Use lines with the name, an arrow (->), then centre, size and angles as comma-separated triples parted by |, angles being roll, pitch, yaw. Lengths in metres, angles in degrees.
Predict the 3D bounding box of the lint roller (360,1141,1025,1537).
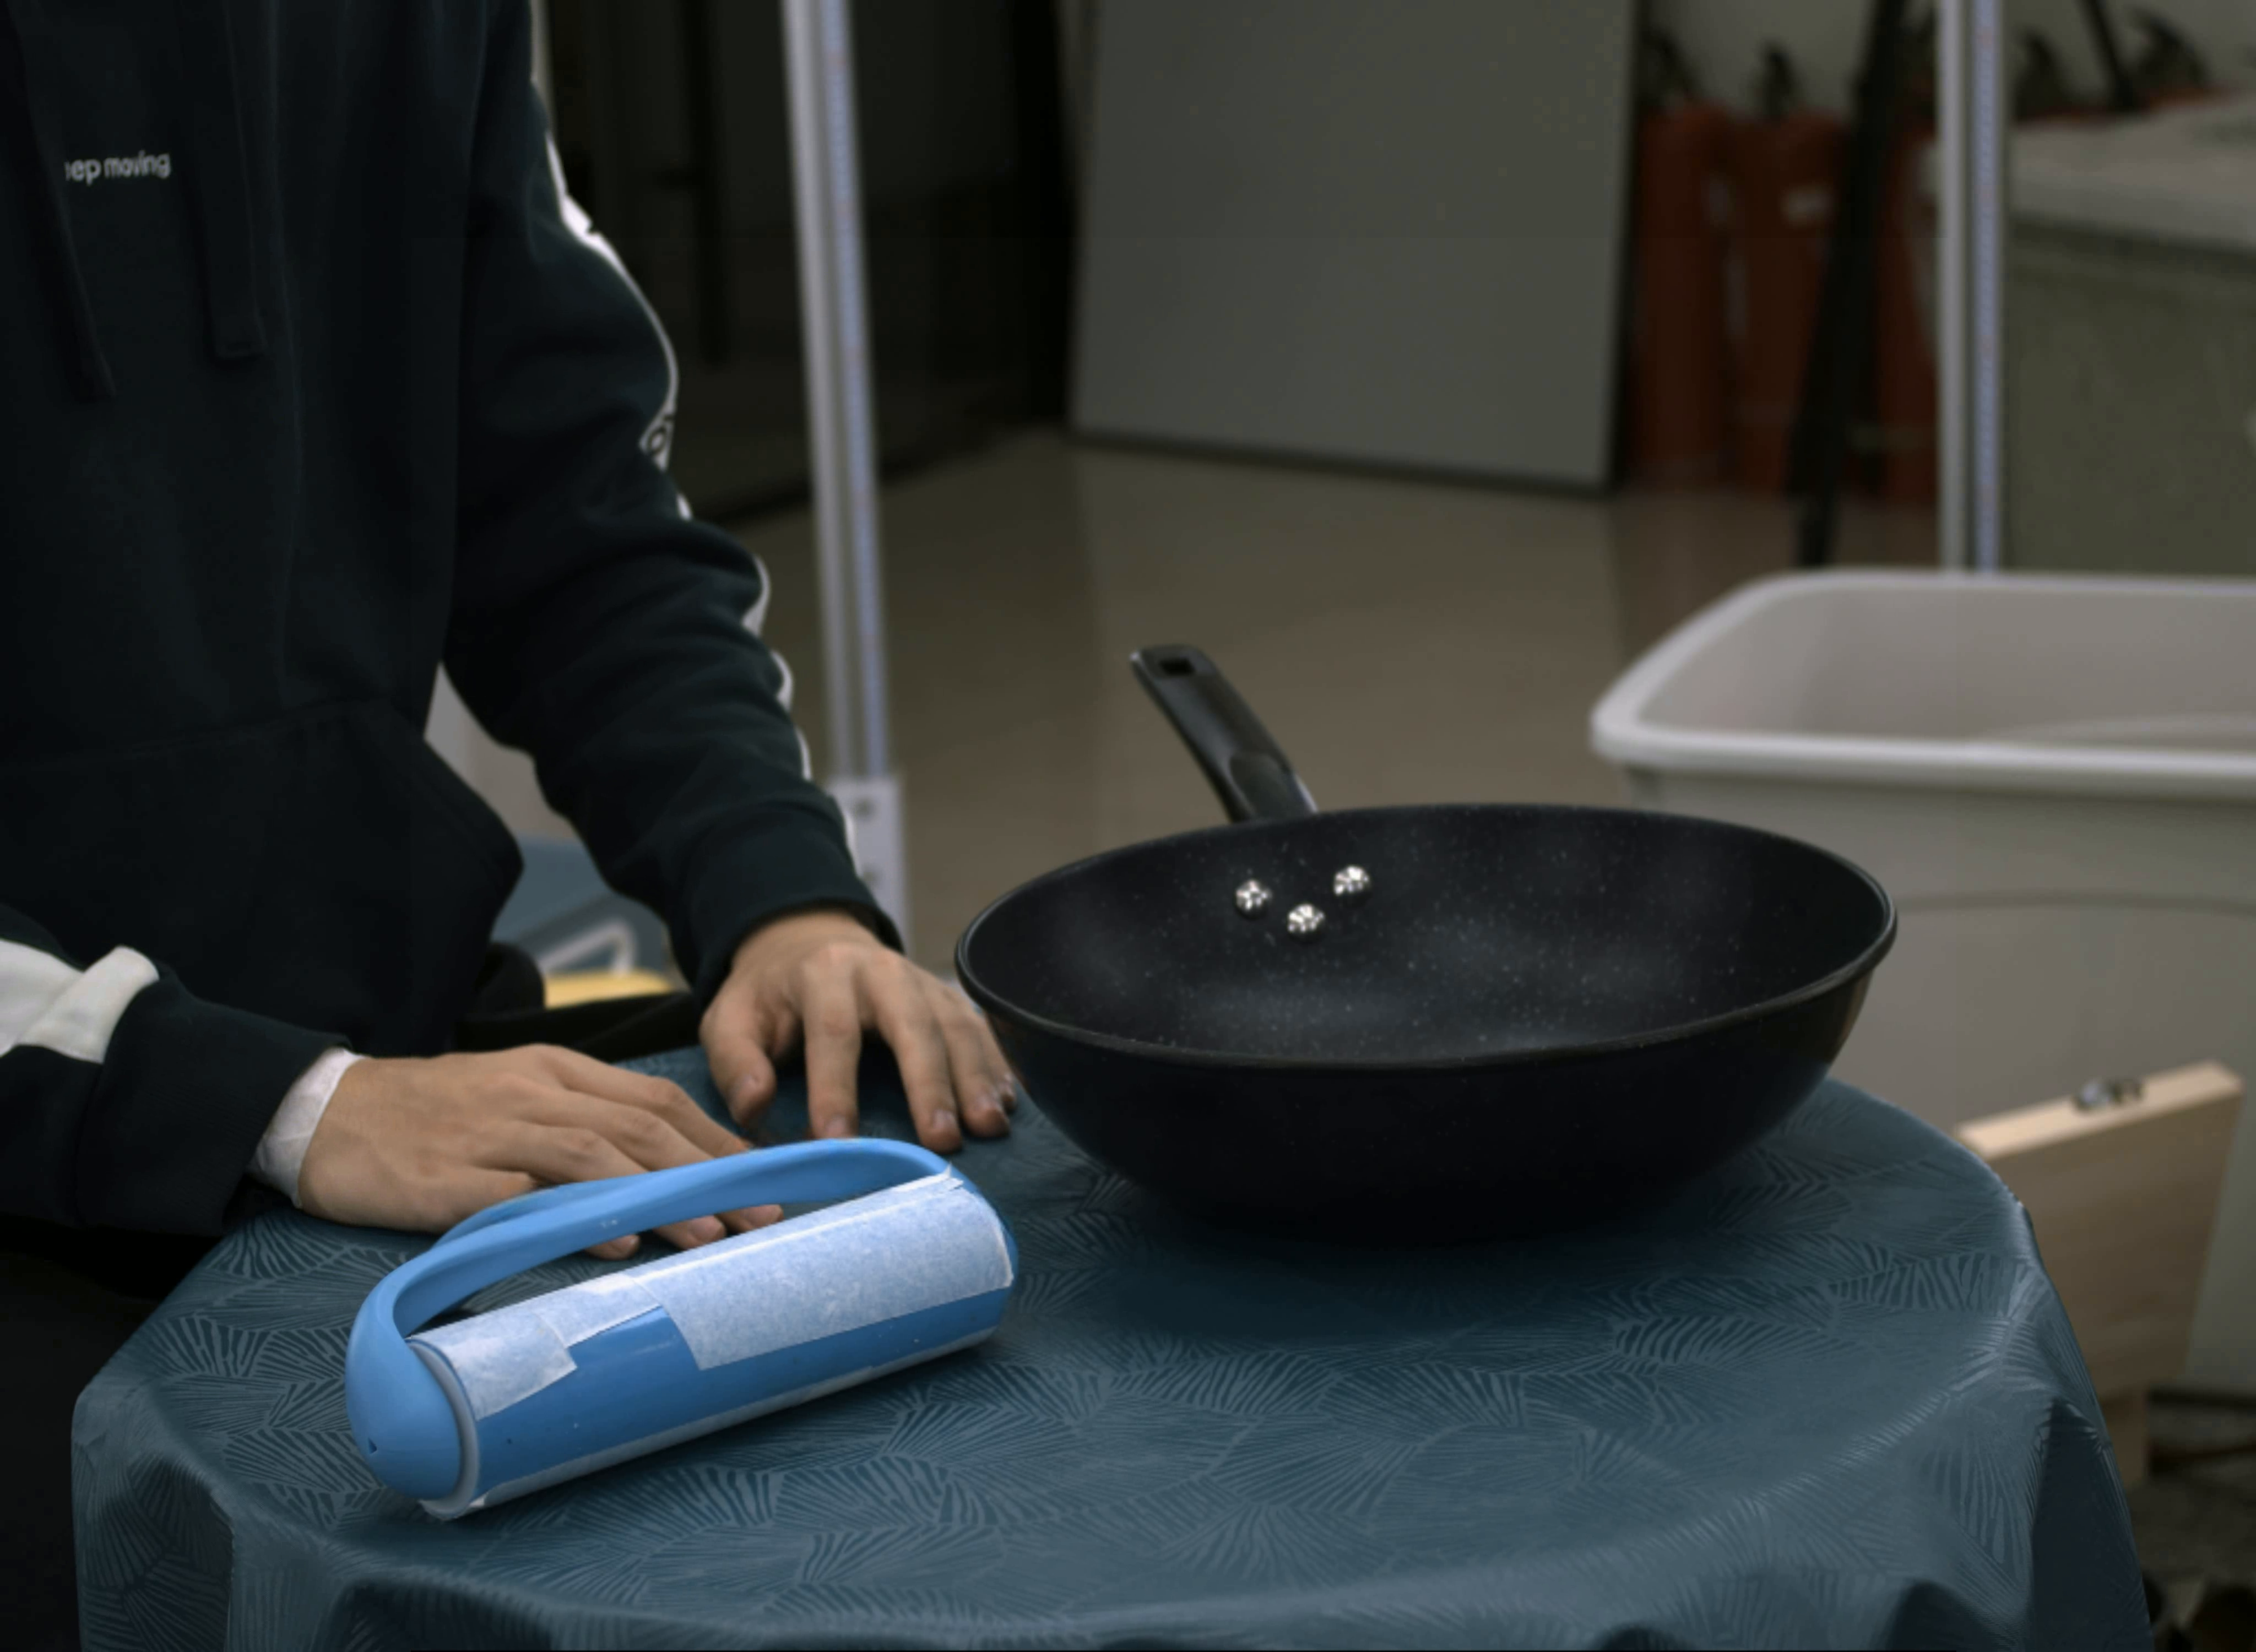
lint roller -> -0.161, 0.142, 1.618 | 0.224, 0.068, 0.182 | -19, 22, -39

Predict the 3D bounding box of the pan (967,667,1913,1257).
pan -> 0.079, 0.045, 1.832 | 0.304, 0.113, 0.480 | -6, 14, -14
